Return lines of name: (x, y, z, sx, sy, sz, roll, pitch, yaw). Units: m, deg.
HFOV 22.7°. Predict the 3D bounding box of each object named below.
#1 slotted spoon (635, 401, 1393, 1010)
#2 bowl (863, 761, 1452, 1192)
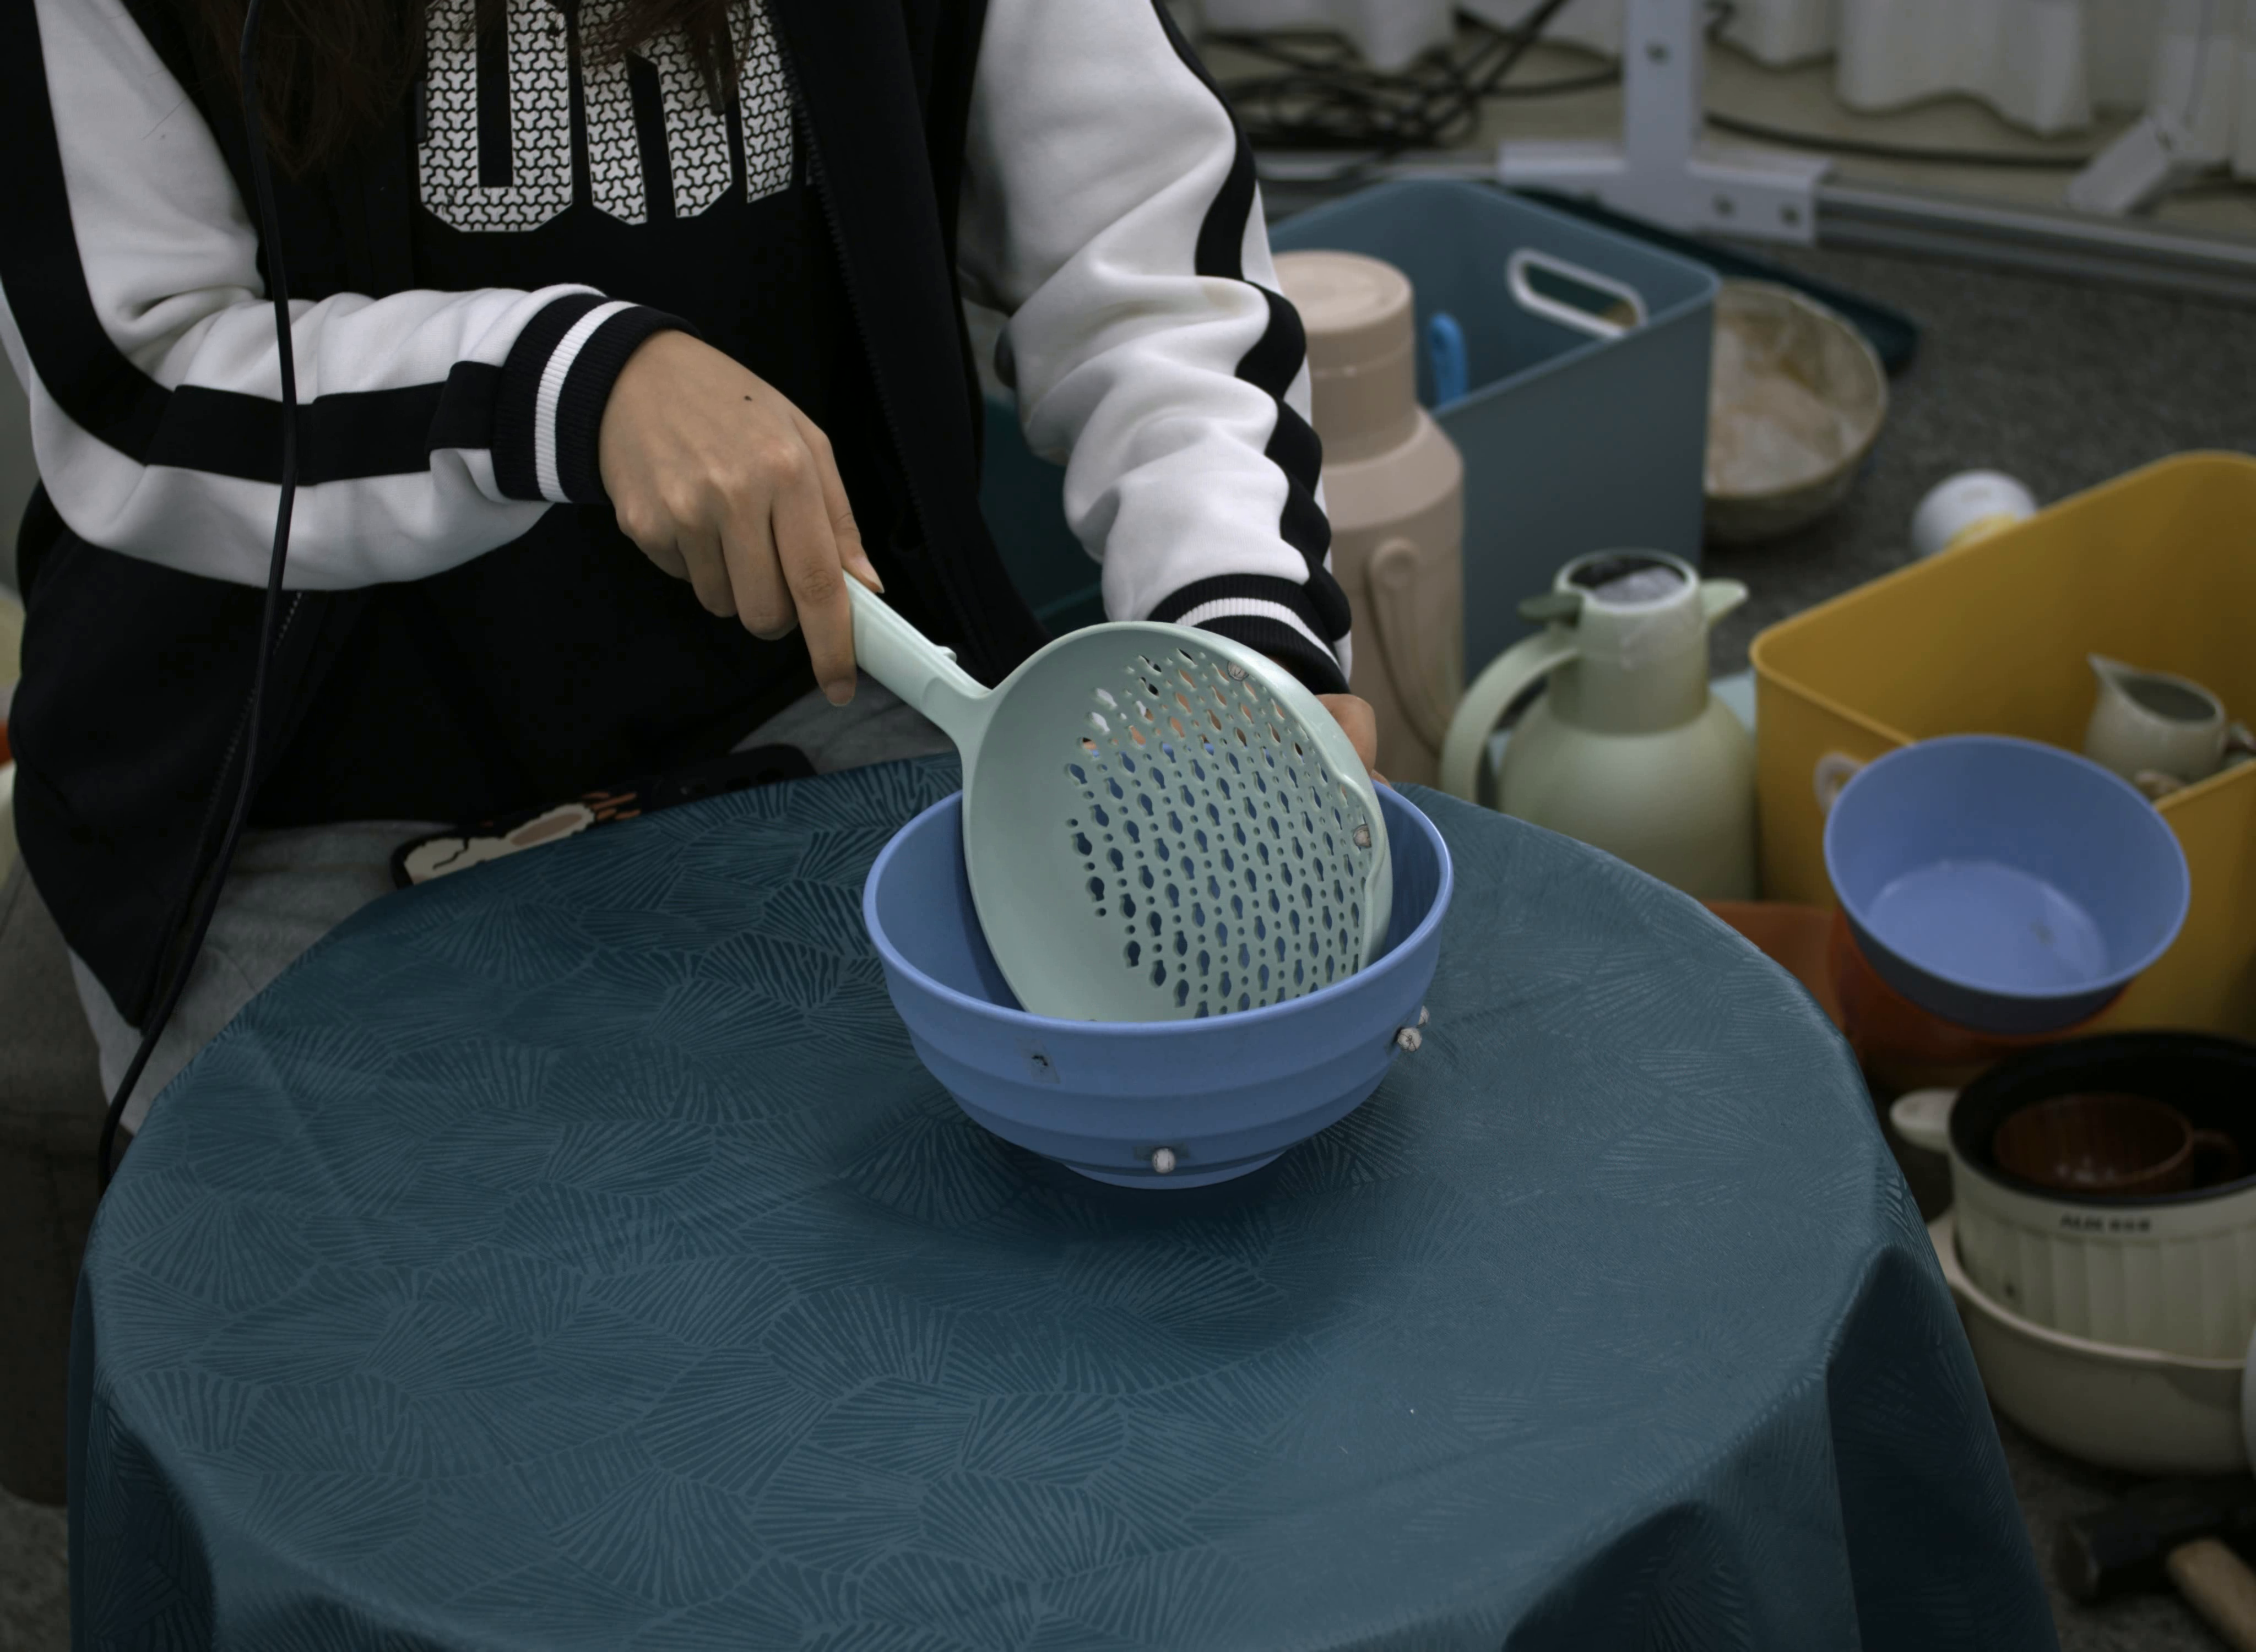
slotted spoon: (-0.051, -0.043, 1.919, 0.359, 0.167, 0.076, 33, 30, 19)
bowl: (0.012, 0.058, 1.880, 0.195, 0.094, 0.199, -3, 27, 2)
